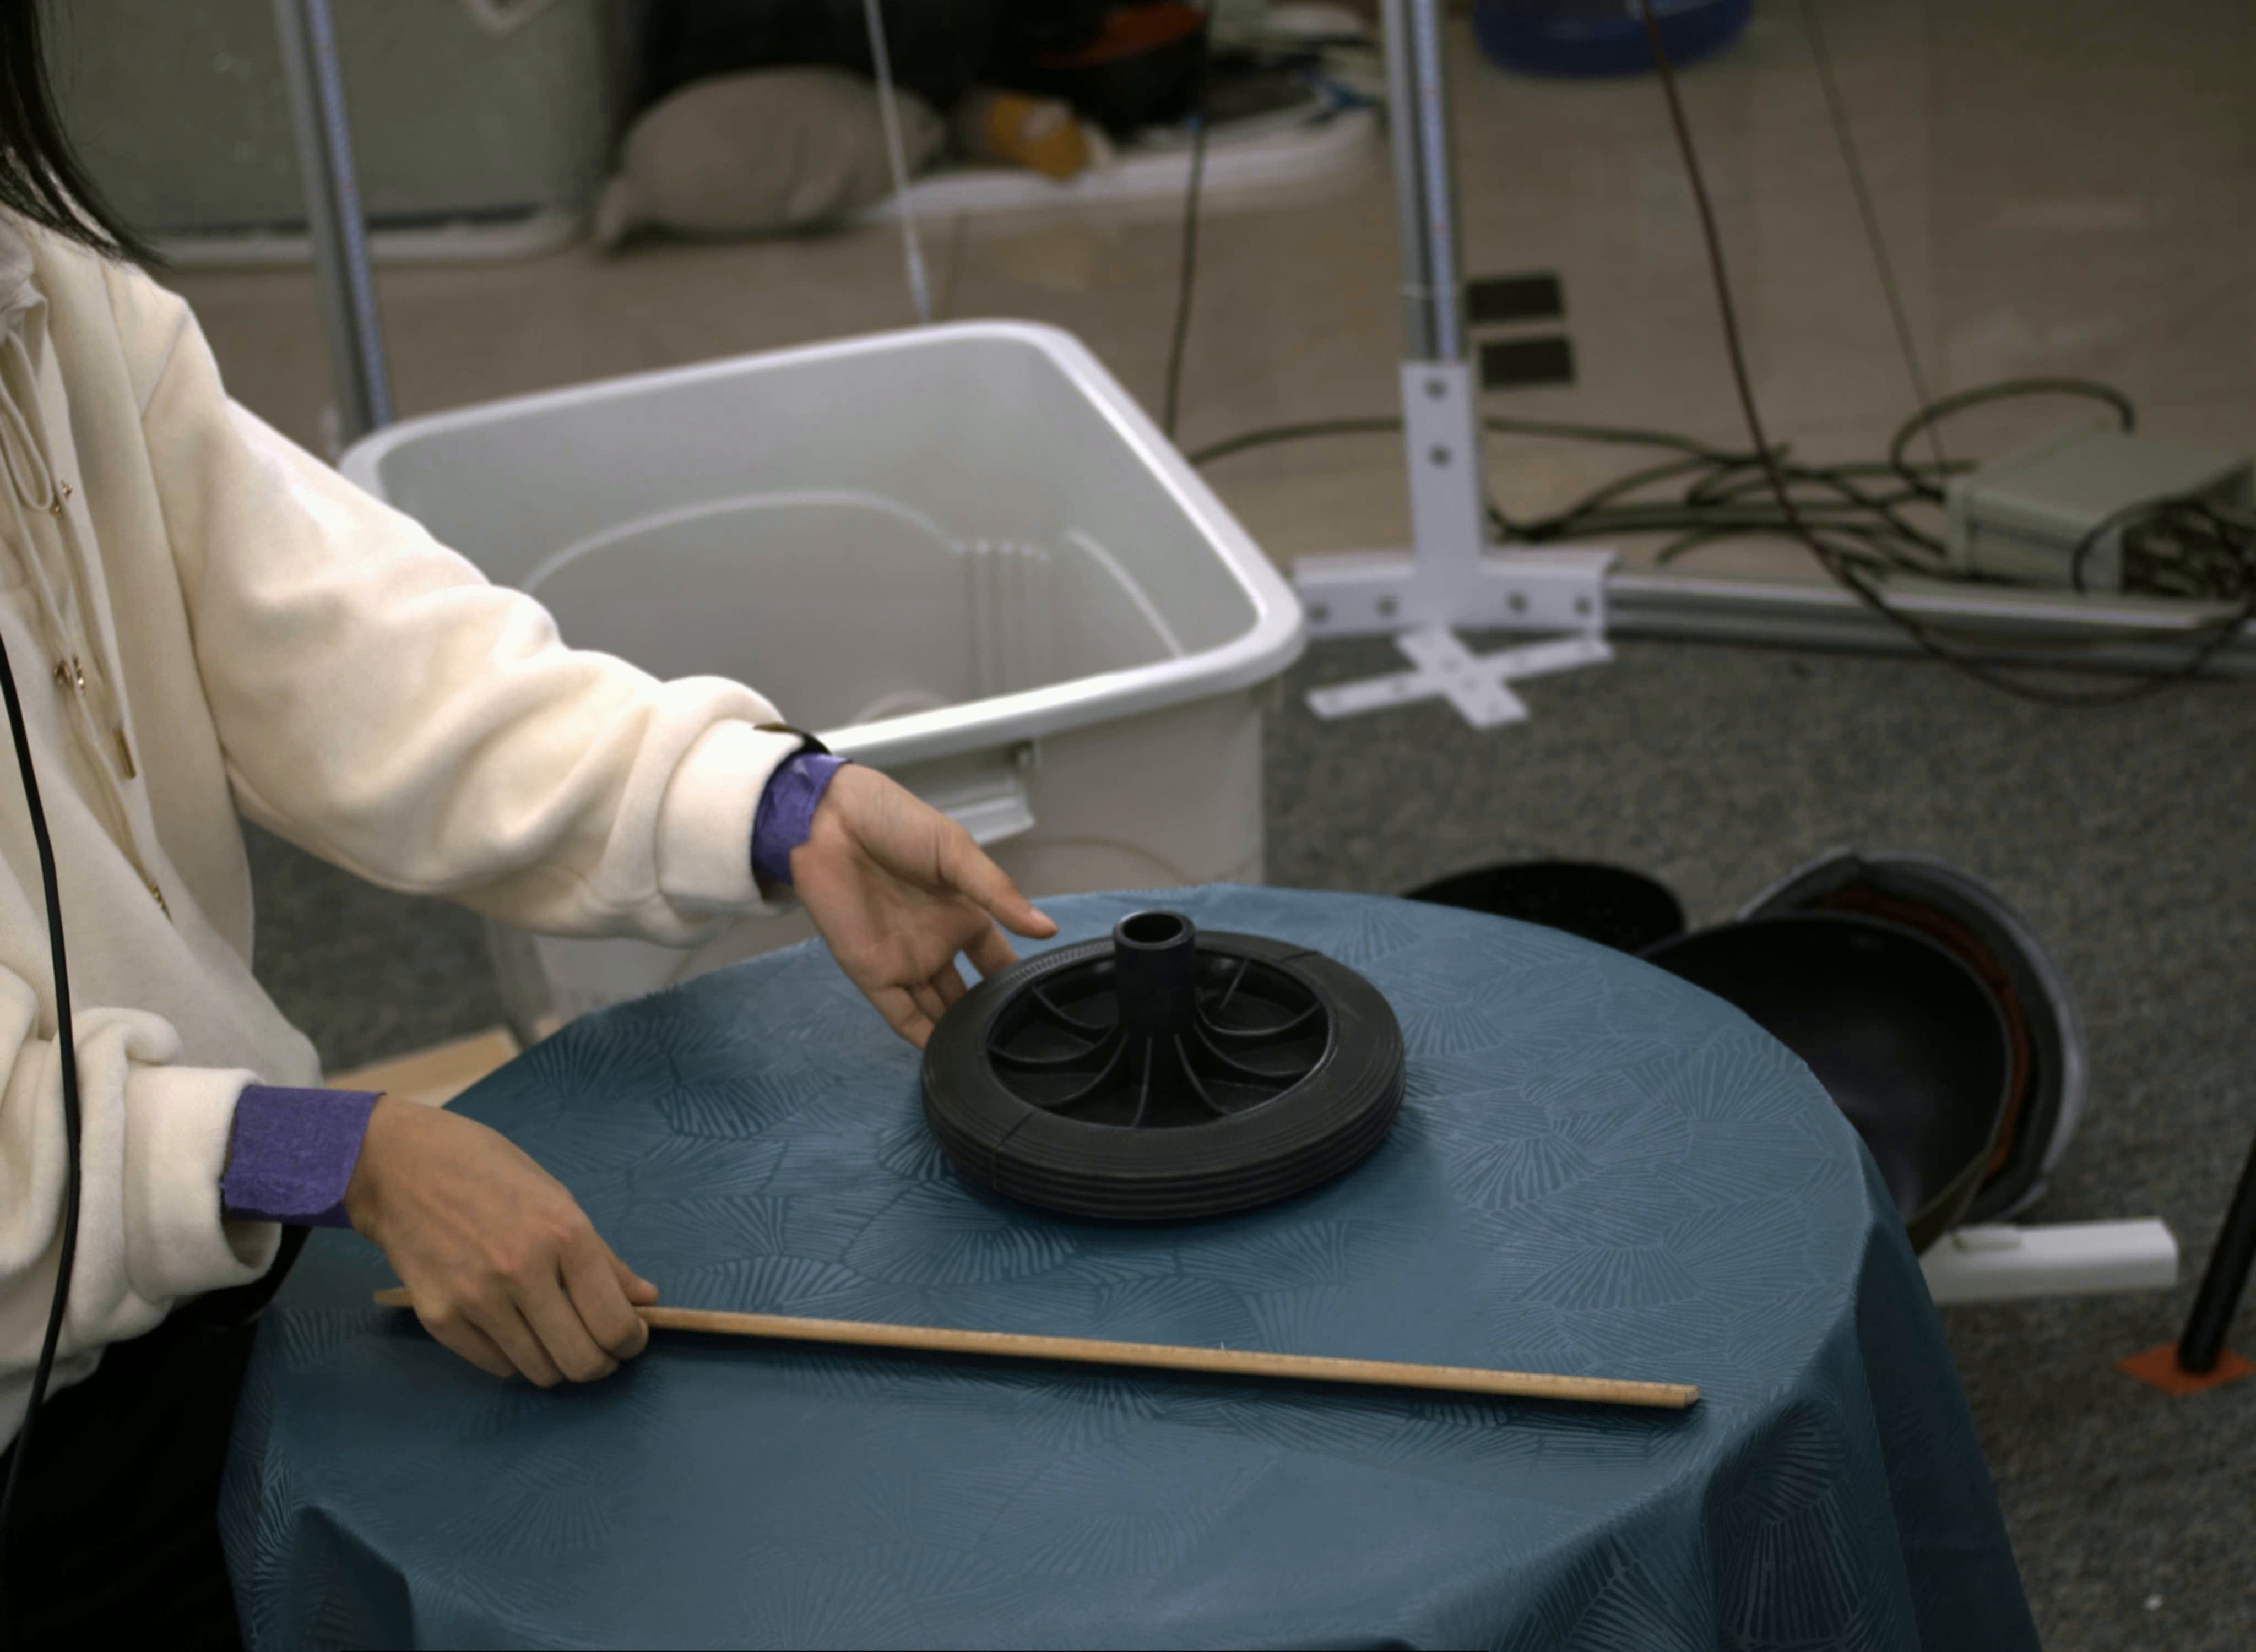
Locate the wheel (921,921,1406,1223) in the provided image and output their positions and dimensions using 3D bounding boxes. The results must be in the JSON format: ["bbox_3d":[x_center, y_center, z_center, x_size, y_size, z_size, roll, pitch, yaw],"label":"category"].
[{"bbox_3d":[0.012,0.078,2.180,0.187,0.080,0.187,-8,29,-8],"label":"wheel"}]

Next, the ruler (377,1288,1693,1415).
[{"bbox_3d":[-0.043,0.188,2.041,0.499,0.006,0.026,3,9,20],"label":"ruler"}]
